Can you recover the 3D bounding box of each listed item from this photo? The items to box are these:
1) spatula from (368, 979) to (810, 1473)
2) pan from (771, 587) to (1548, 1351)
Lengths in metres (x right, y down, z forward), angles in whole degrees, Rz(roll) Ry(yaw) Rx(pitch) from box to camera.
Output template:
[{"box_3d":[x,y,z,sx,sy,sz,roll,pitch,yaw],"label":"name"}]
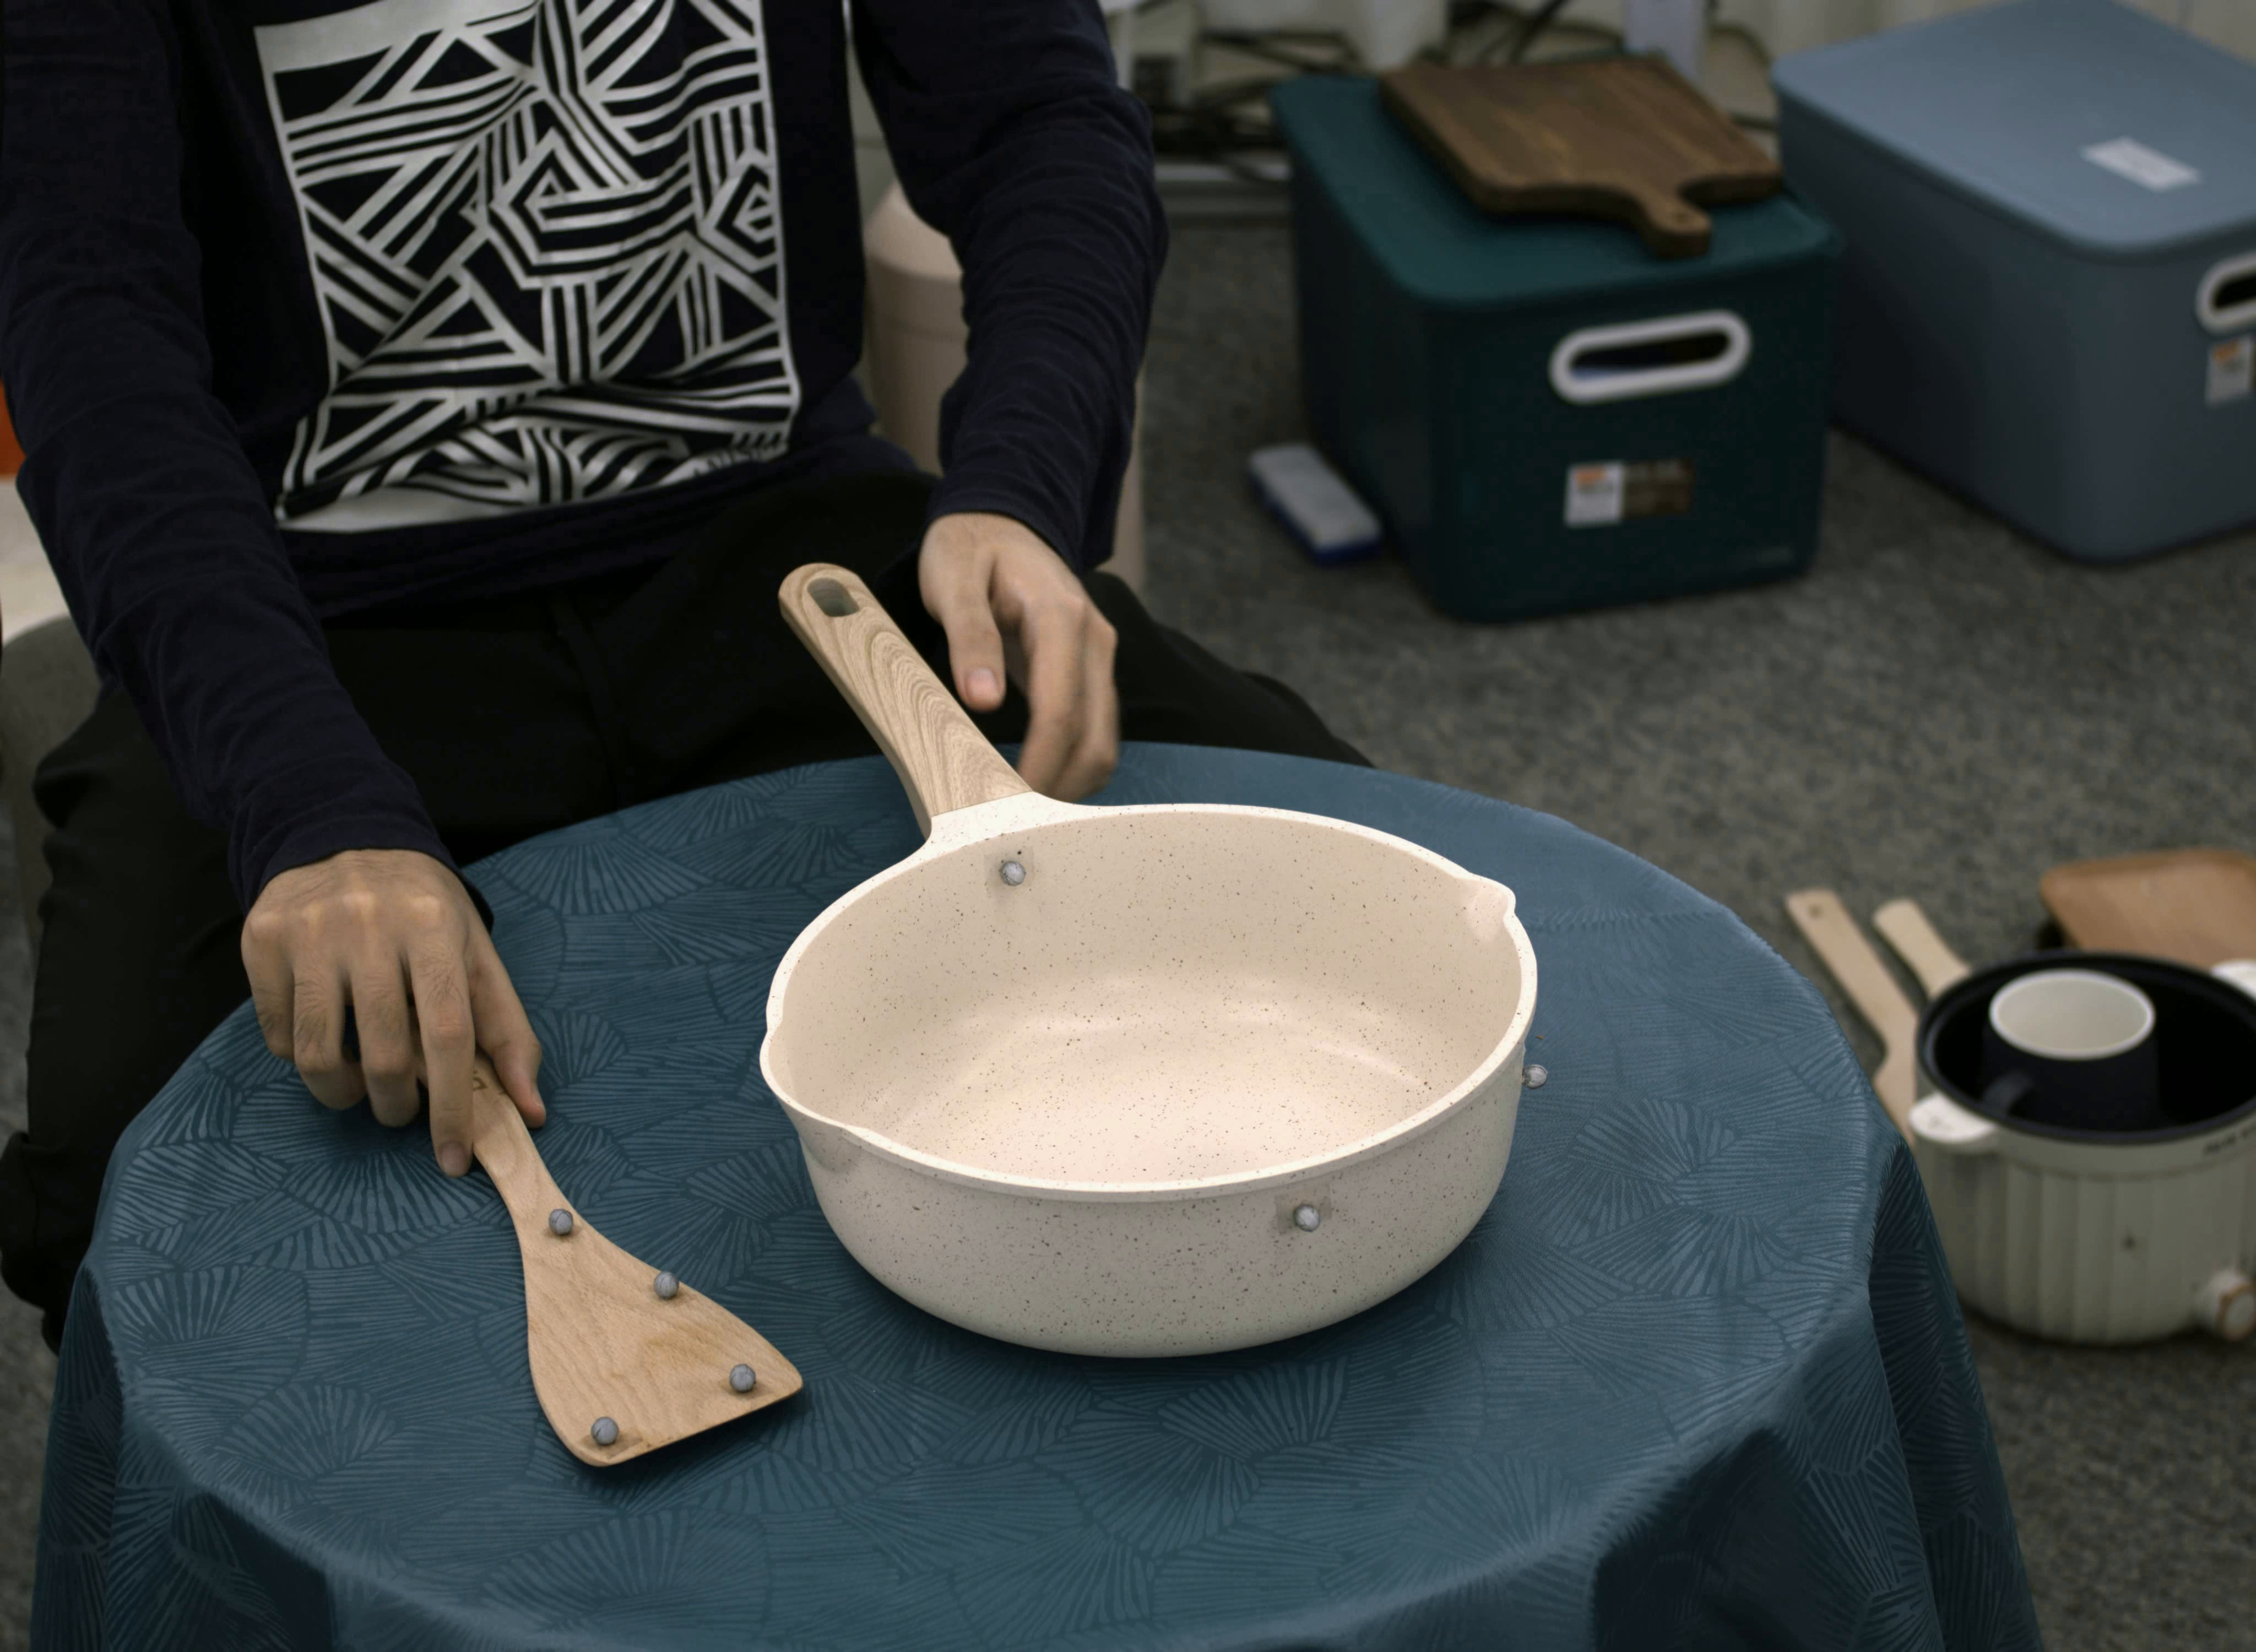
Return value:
[{"box_3d":[-0.194,0.125,1.863,0.080,0.016,0.330,-13,31,-20],"label":"spatula"},{"box_3d":[-0.025,0.042,1.919,0.264,0.101,0.437,-15,29,-20],"label":"pan"}]
